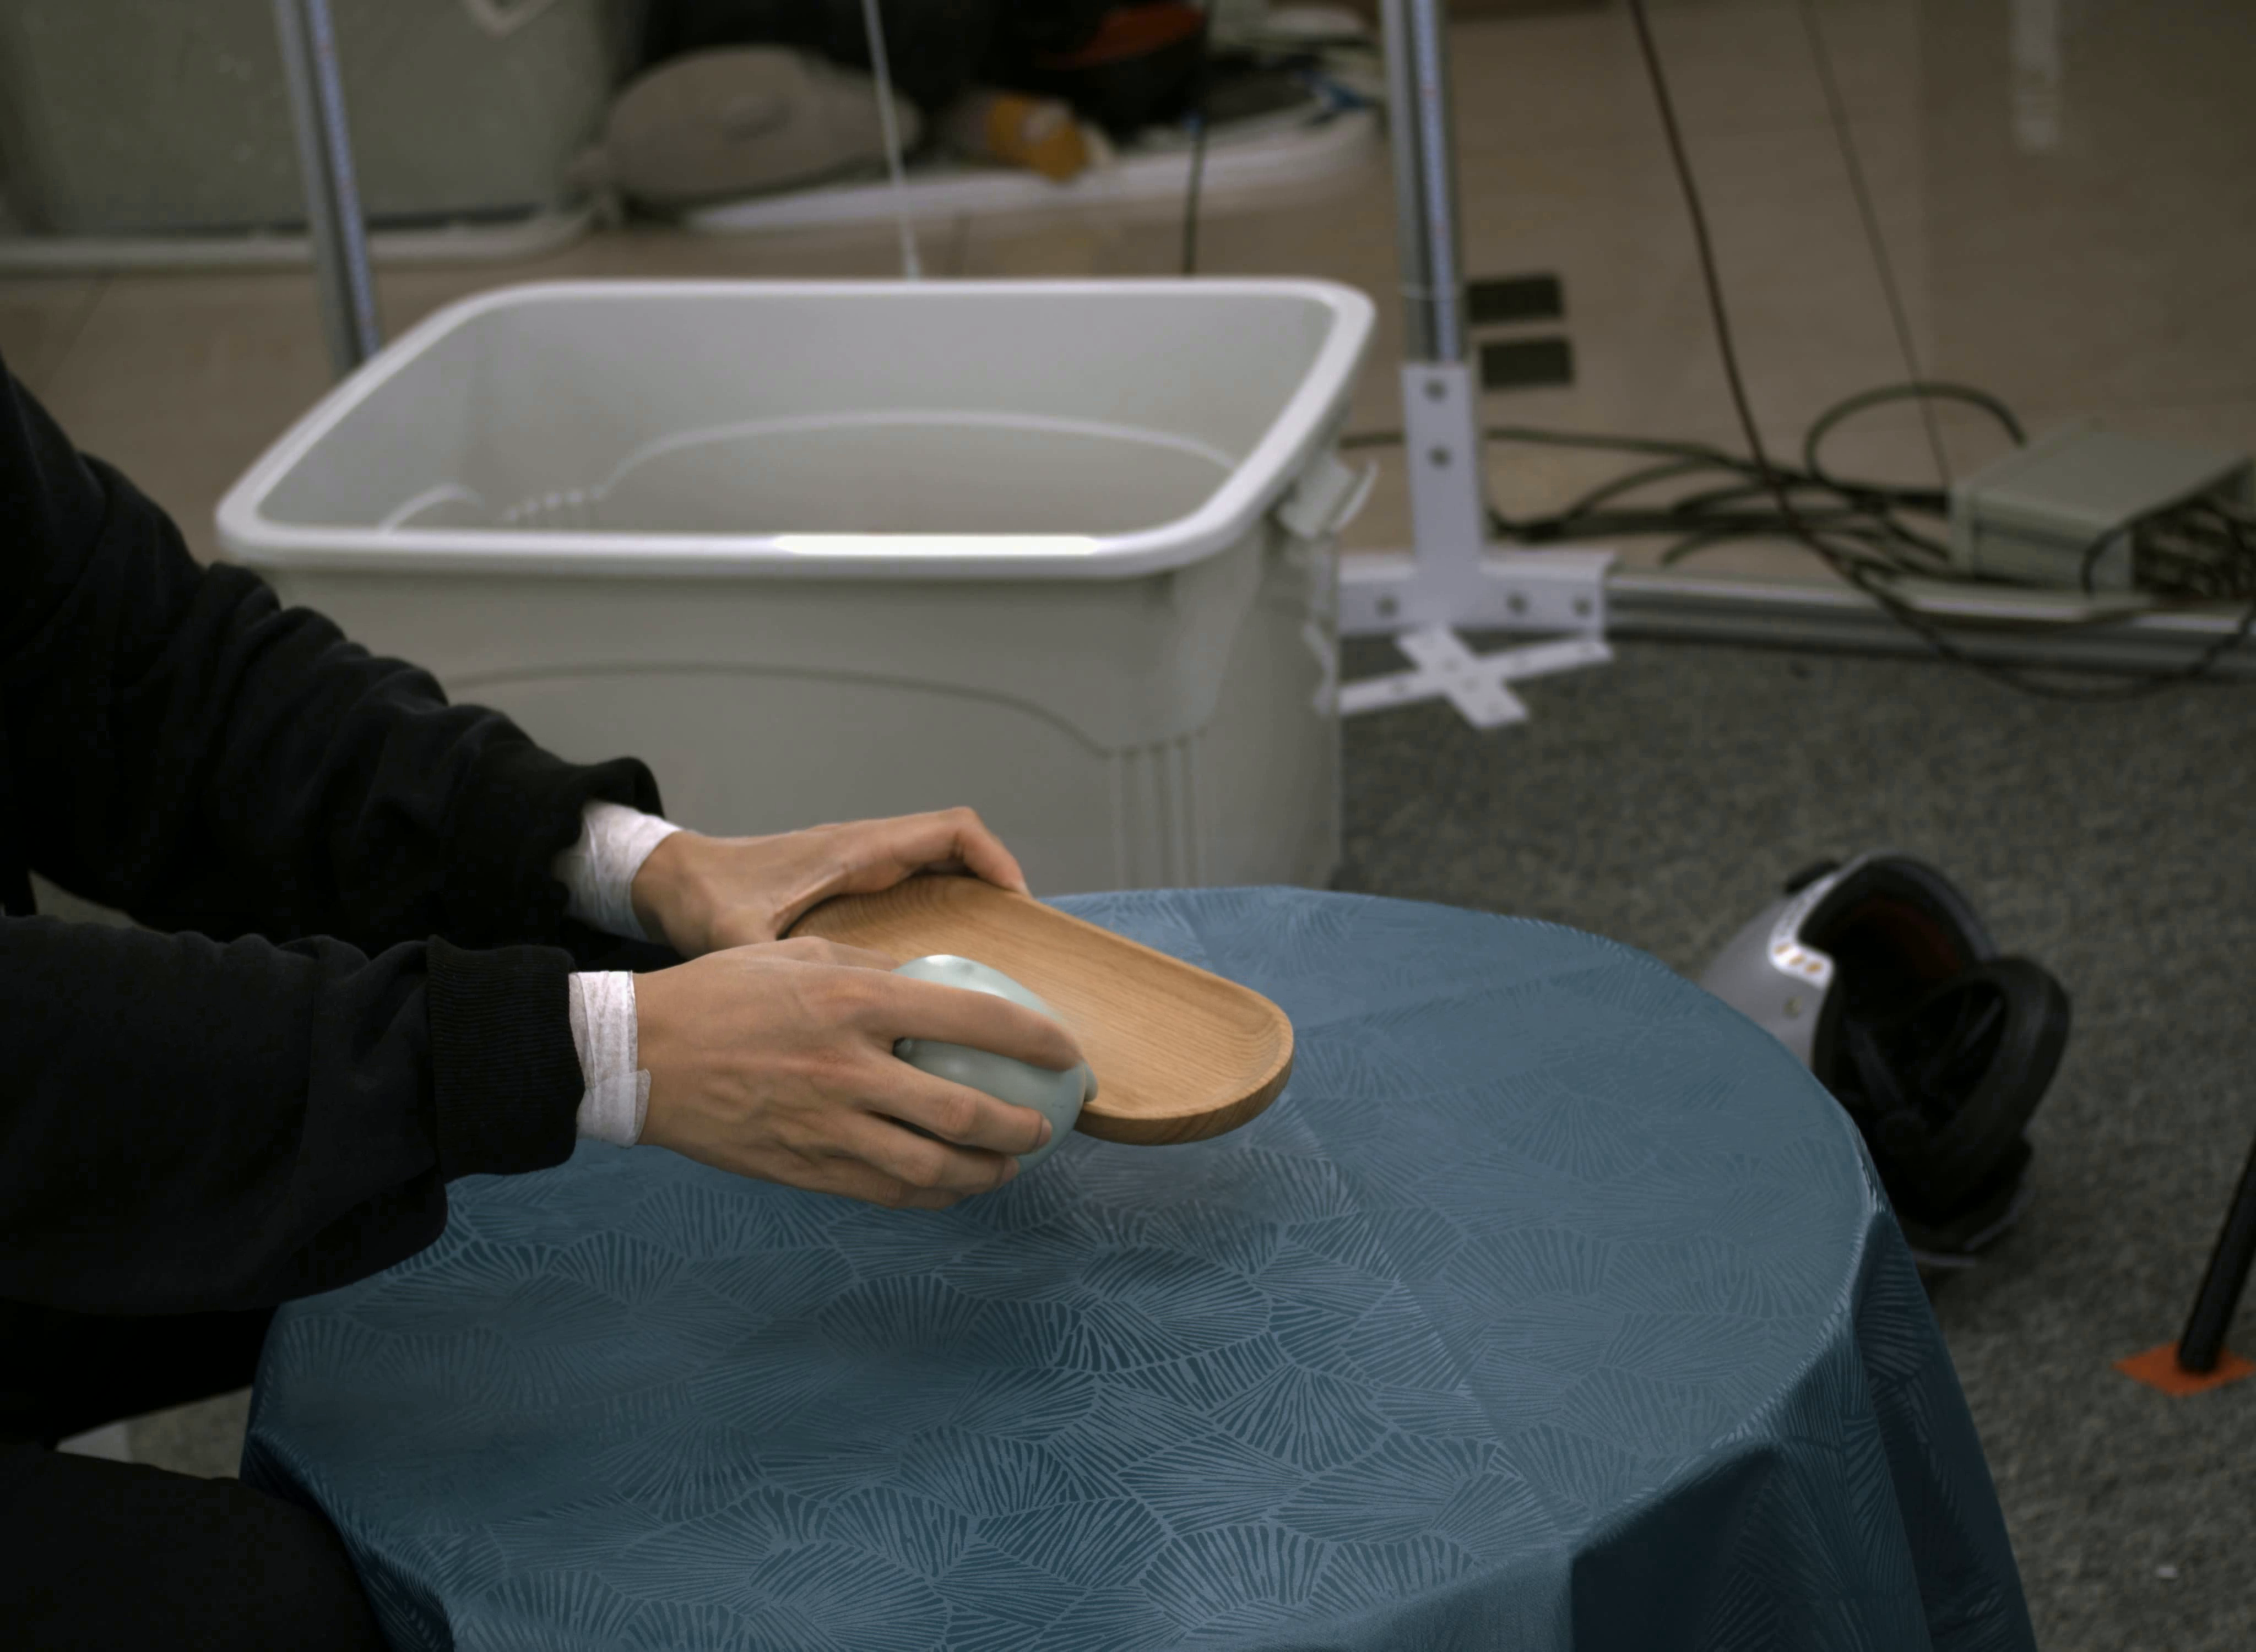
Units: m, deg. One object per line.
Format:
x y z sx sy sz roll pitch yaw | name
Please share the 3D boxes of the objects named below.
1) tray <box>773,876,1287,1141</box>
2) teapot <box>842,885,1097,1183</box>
-0.039 0.069 2.163 0.229 0.020 0.101 20 37 38 | tray
-0.059 0.086 2.032 0.088 0.146 0.074 17 66 37 | teapot
